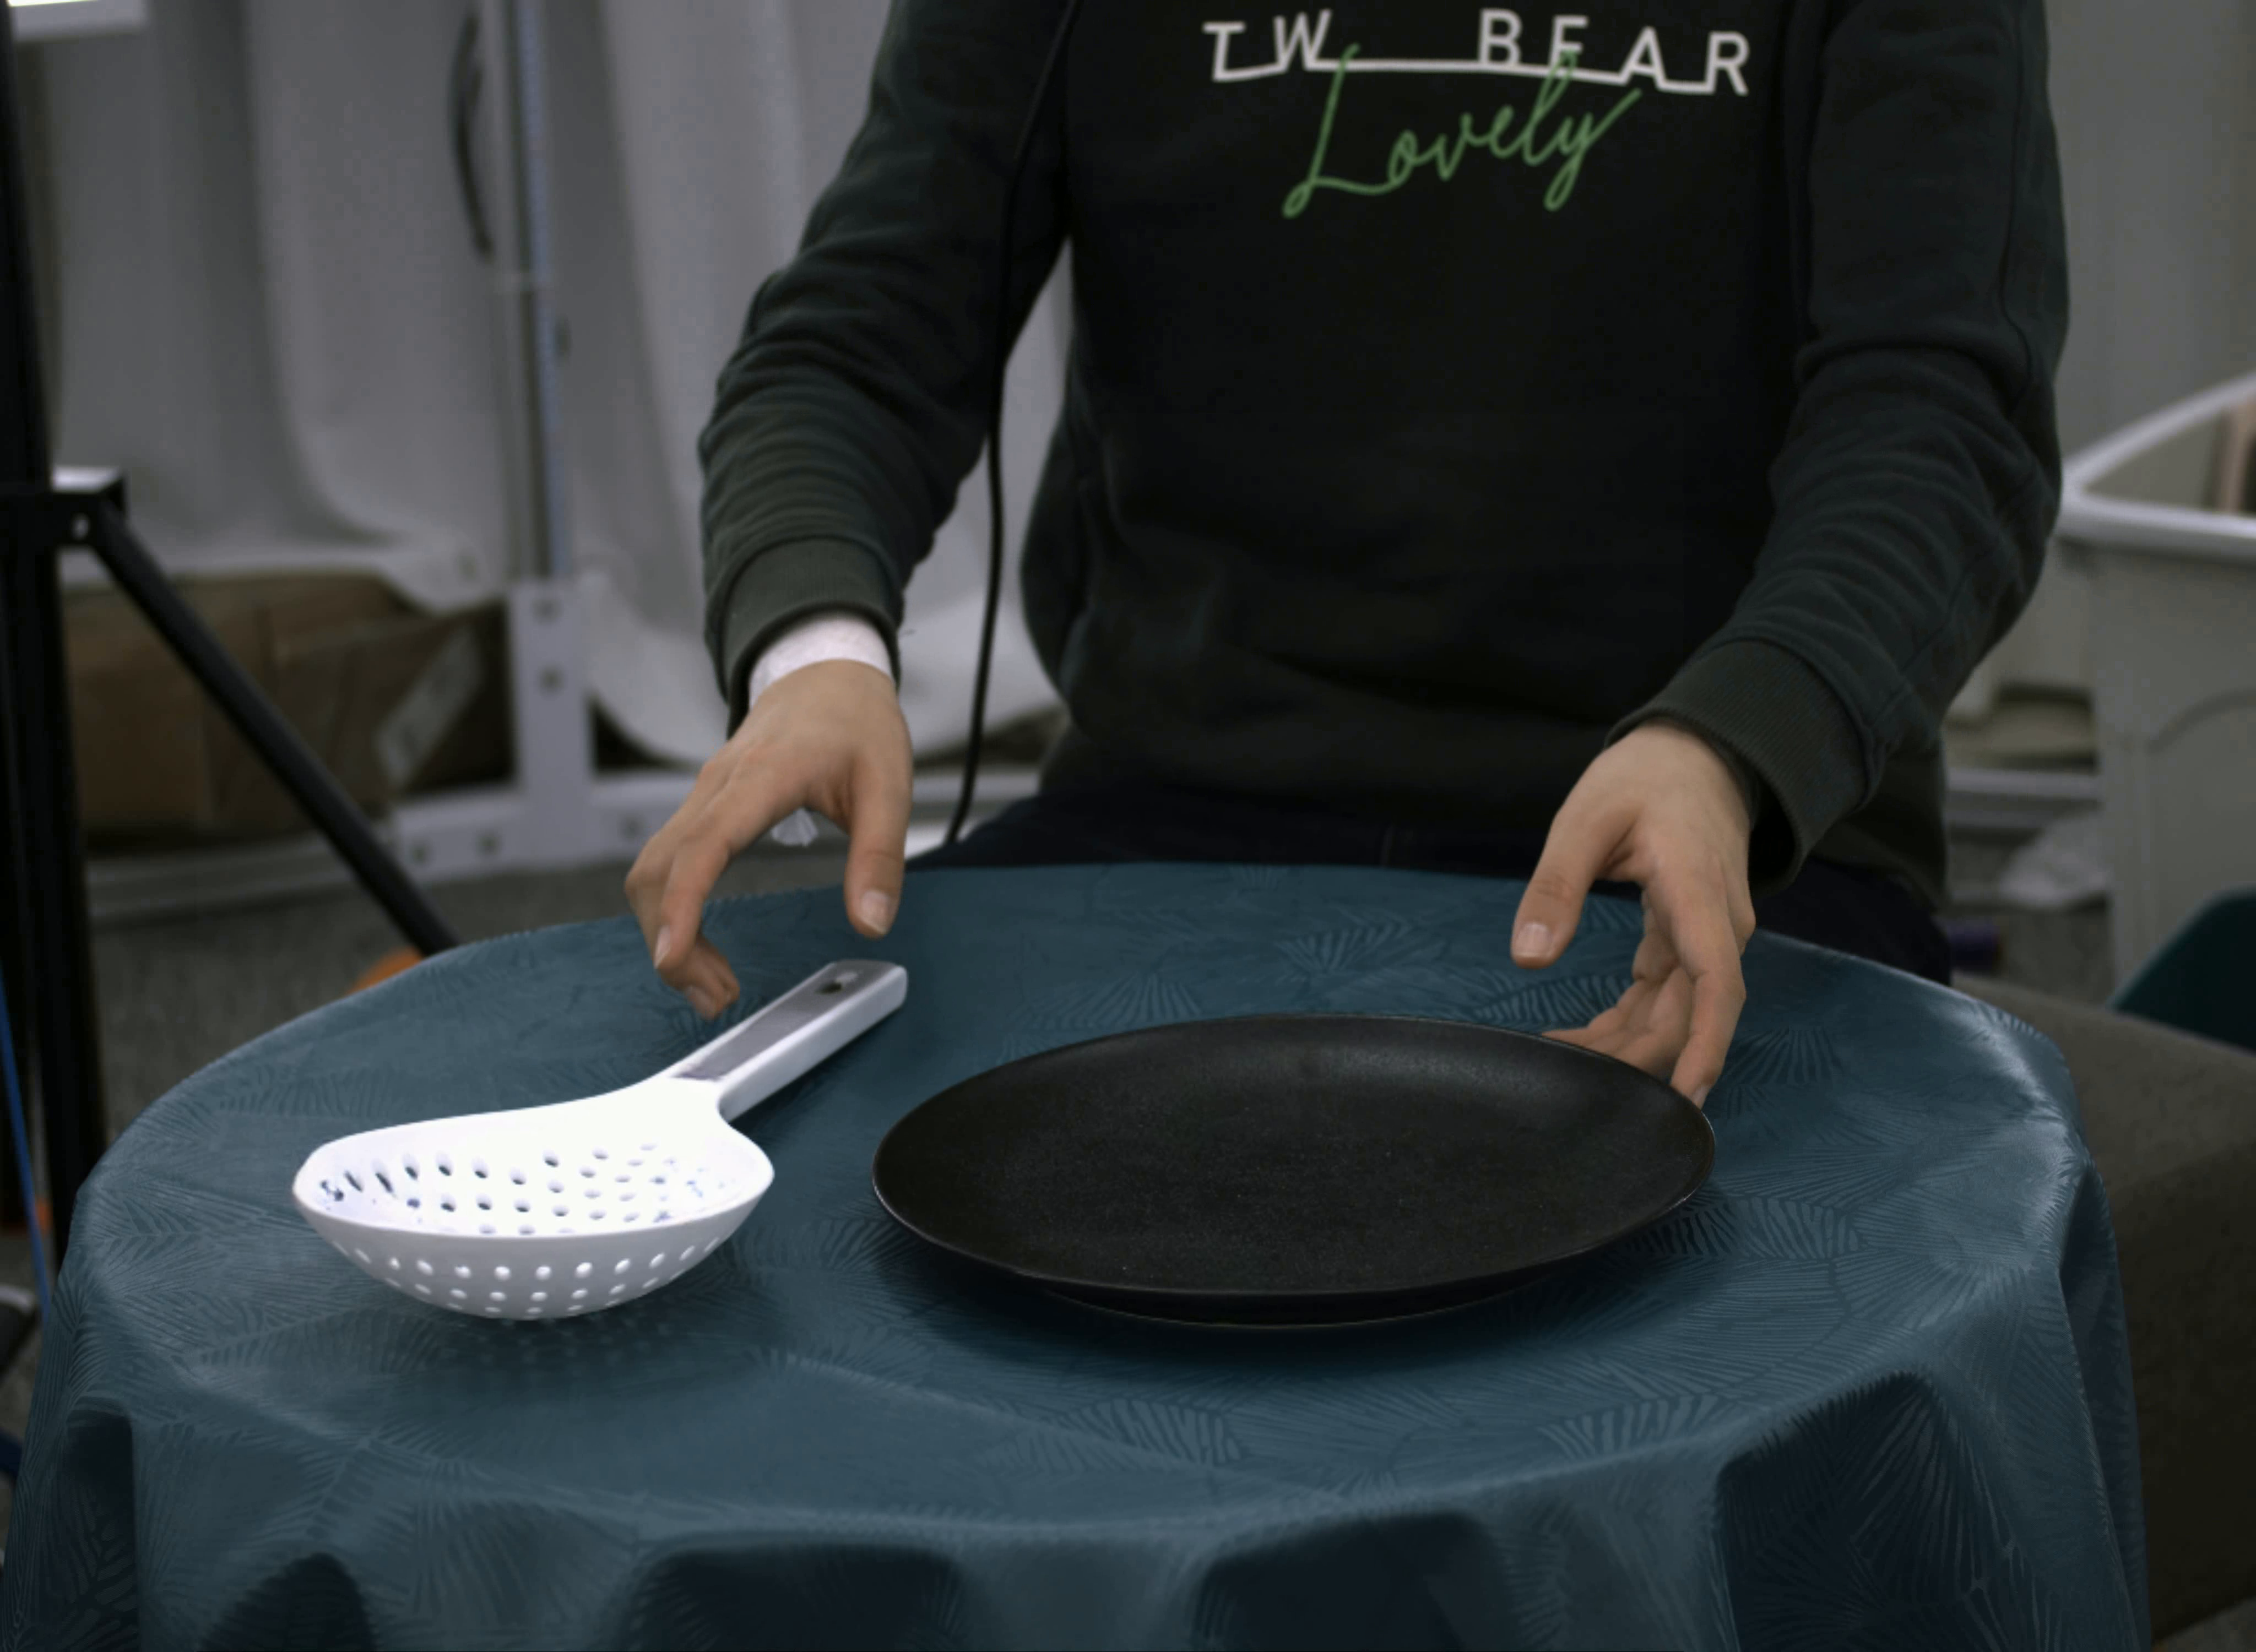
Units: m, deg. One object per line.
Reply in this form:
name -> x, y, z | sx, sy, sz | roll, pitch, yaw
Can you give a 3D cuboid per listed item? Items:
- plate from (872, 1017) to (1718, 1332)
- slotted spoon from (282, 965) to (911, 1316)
plate -> 0.048, 0.102, 1.527 | 0.243, 0.023, 0.245 | -3, 16, -1
slotted spoon -> -0.135, 0.084, 1.583 | 0.137, 0.046, 0.346 | 5, 16, 17
